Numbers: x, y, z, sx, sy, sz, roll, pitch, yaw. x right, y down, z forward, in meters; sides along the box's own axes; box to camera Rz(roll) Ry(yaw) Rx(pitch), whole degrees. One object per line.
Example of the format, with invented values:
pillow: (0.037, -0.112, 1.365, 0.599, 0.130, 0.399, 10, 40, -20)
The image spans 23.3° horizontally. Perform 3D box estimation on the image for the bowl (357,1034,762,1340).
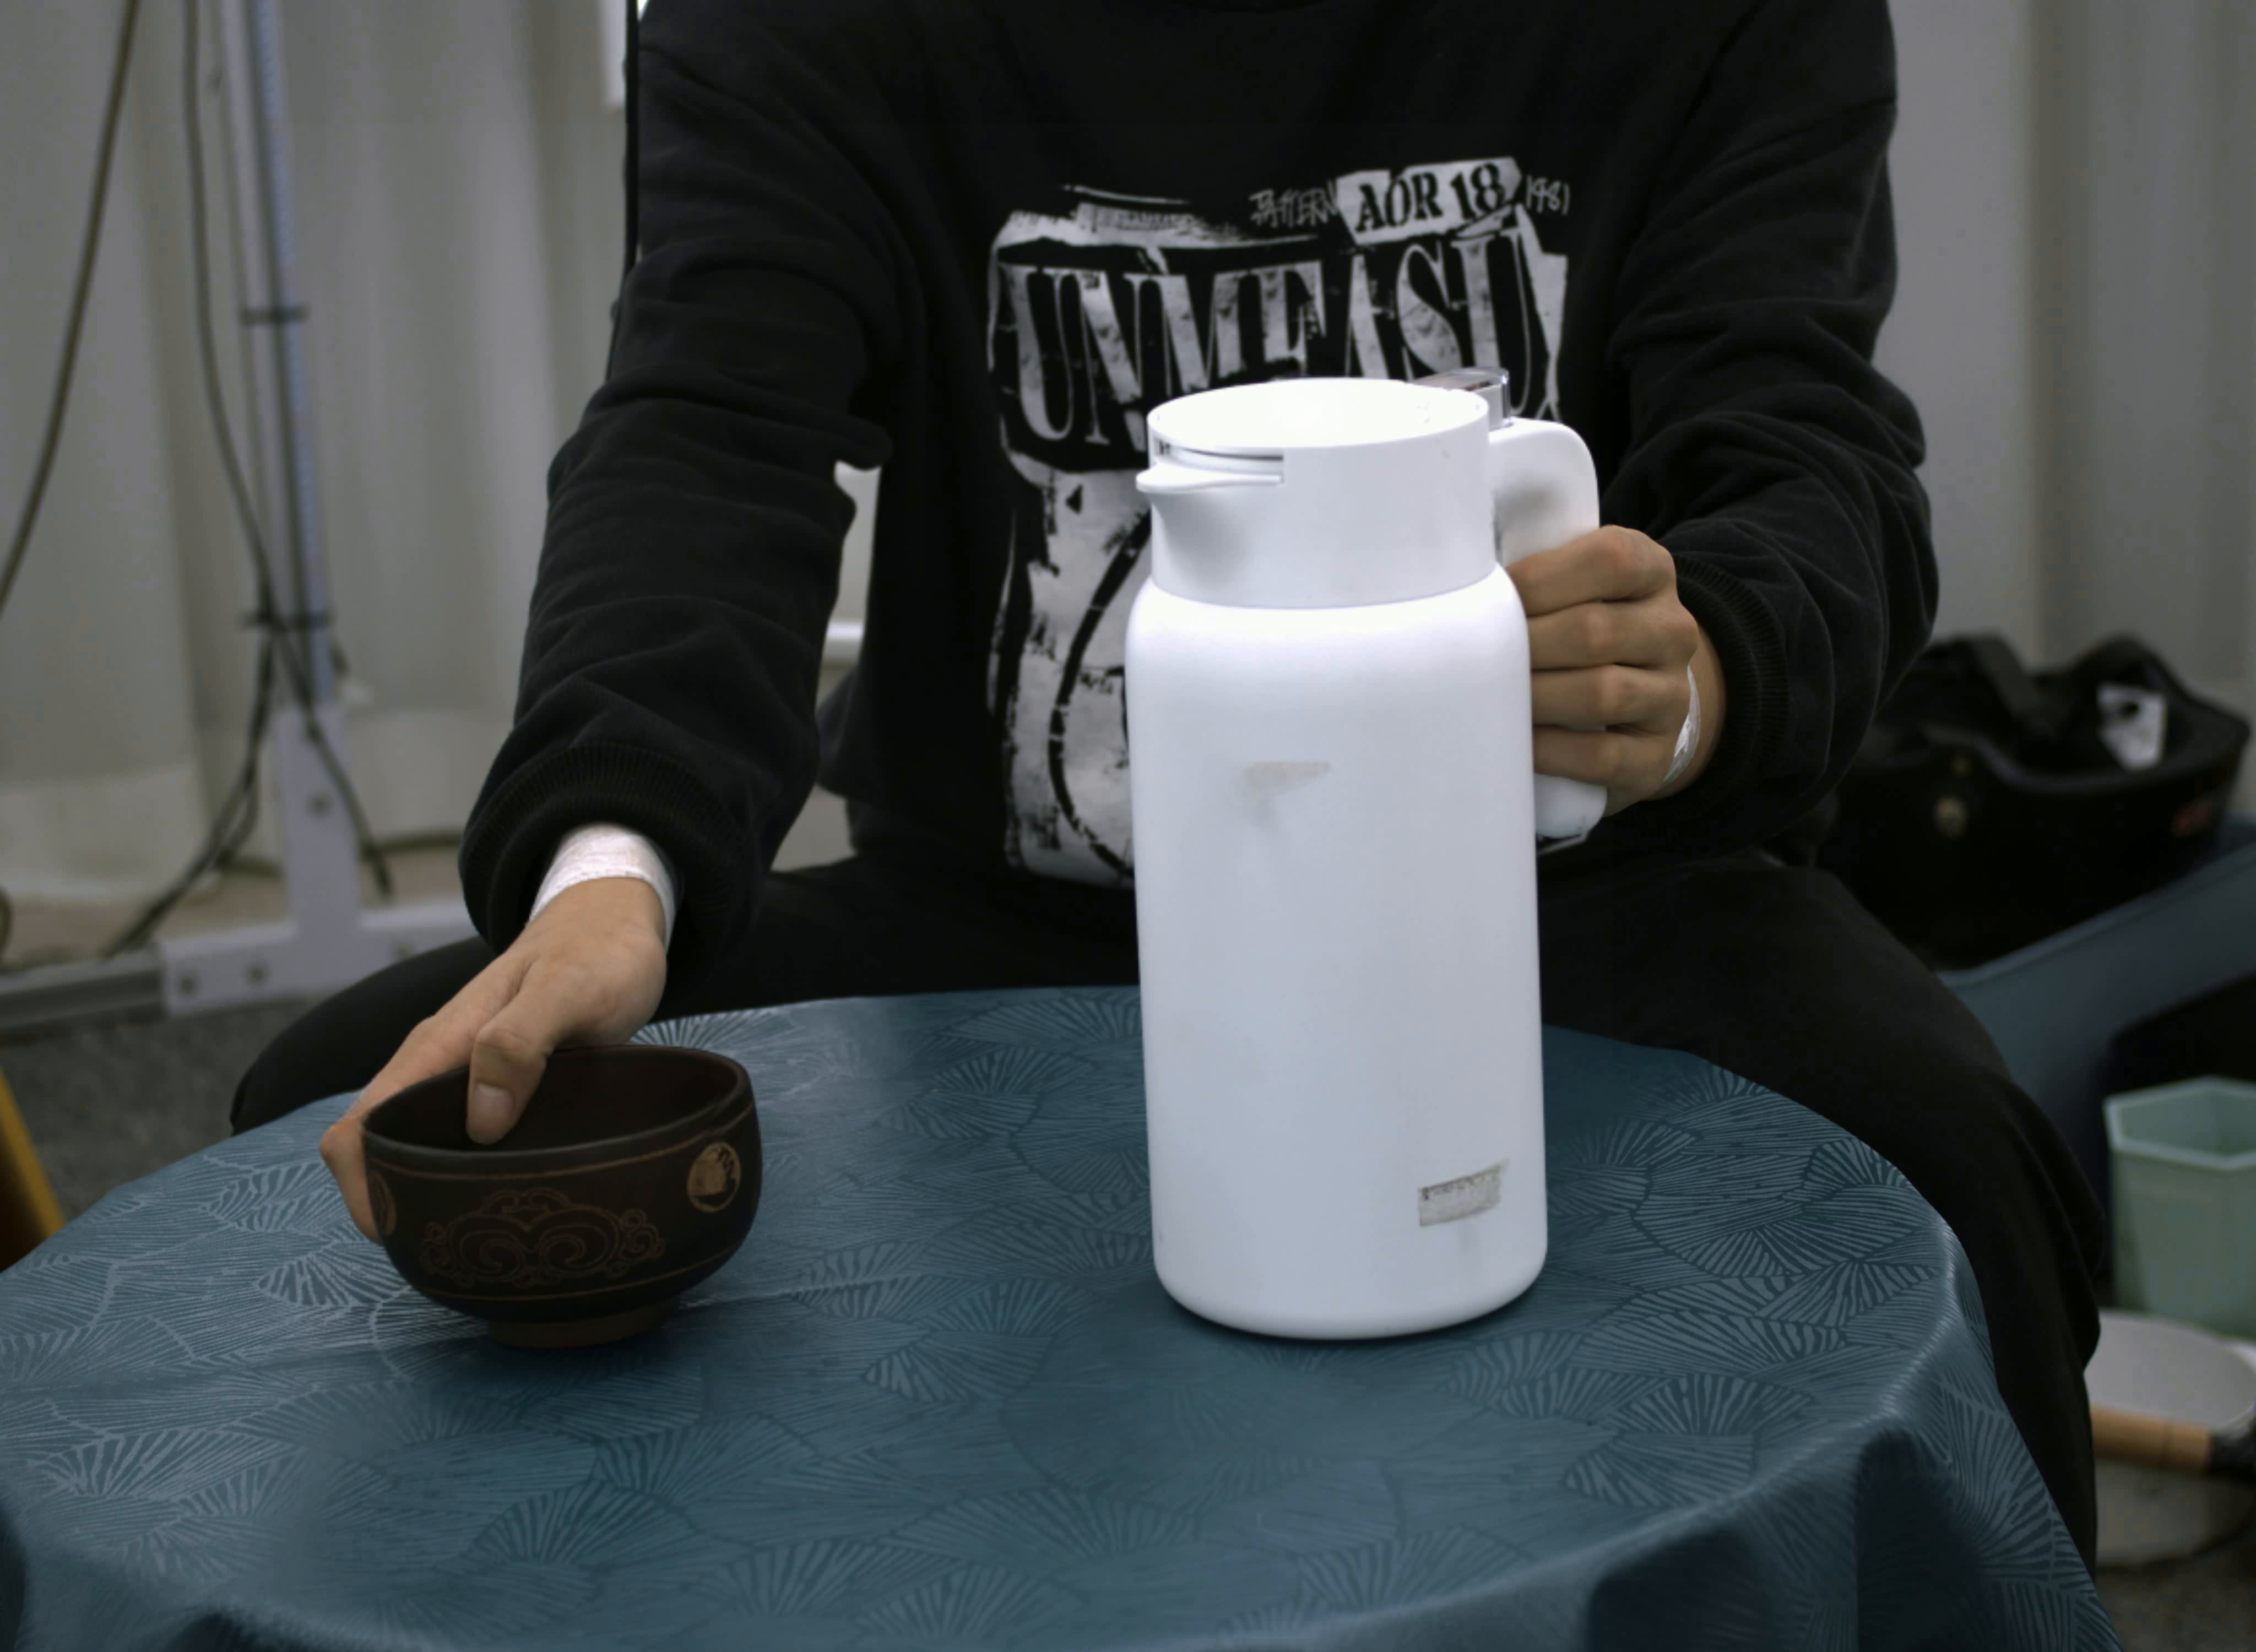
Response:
bowl: (-0.165, 0.110, 1.613, 0.117, 0.069, 0.118, -6, 12, 1)

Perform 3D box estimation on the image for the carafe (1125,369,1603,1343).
carafe: (0.072, 0.004, 1.602, 0.172, 0.268, 0.124, -16, 17, -42)
